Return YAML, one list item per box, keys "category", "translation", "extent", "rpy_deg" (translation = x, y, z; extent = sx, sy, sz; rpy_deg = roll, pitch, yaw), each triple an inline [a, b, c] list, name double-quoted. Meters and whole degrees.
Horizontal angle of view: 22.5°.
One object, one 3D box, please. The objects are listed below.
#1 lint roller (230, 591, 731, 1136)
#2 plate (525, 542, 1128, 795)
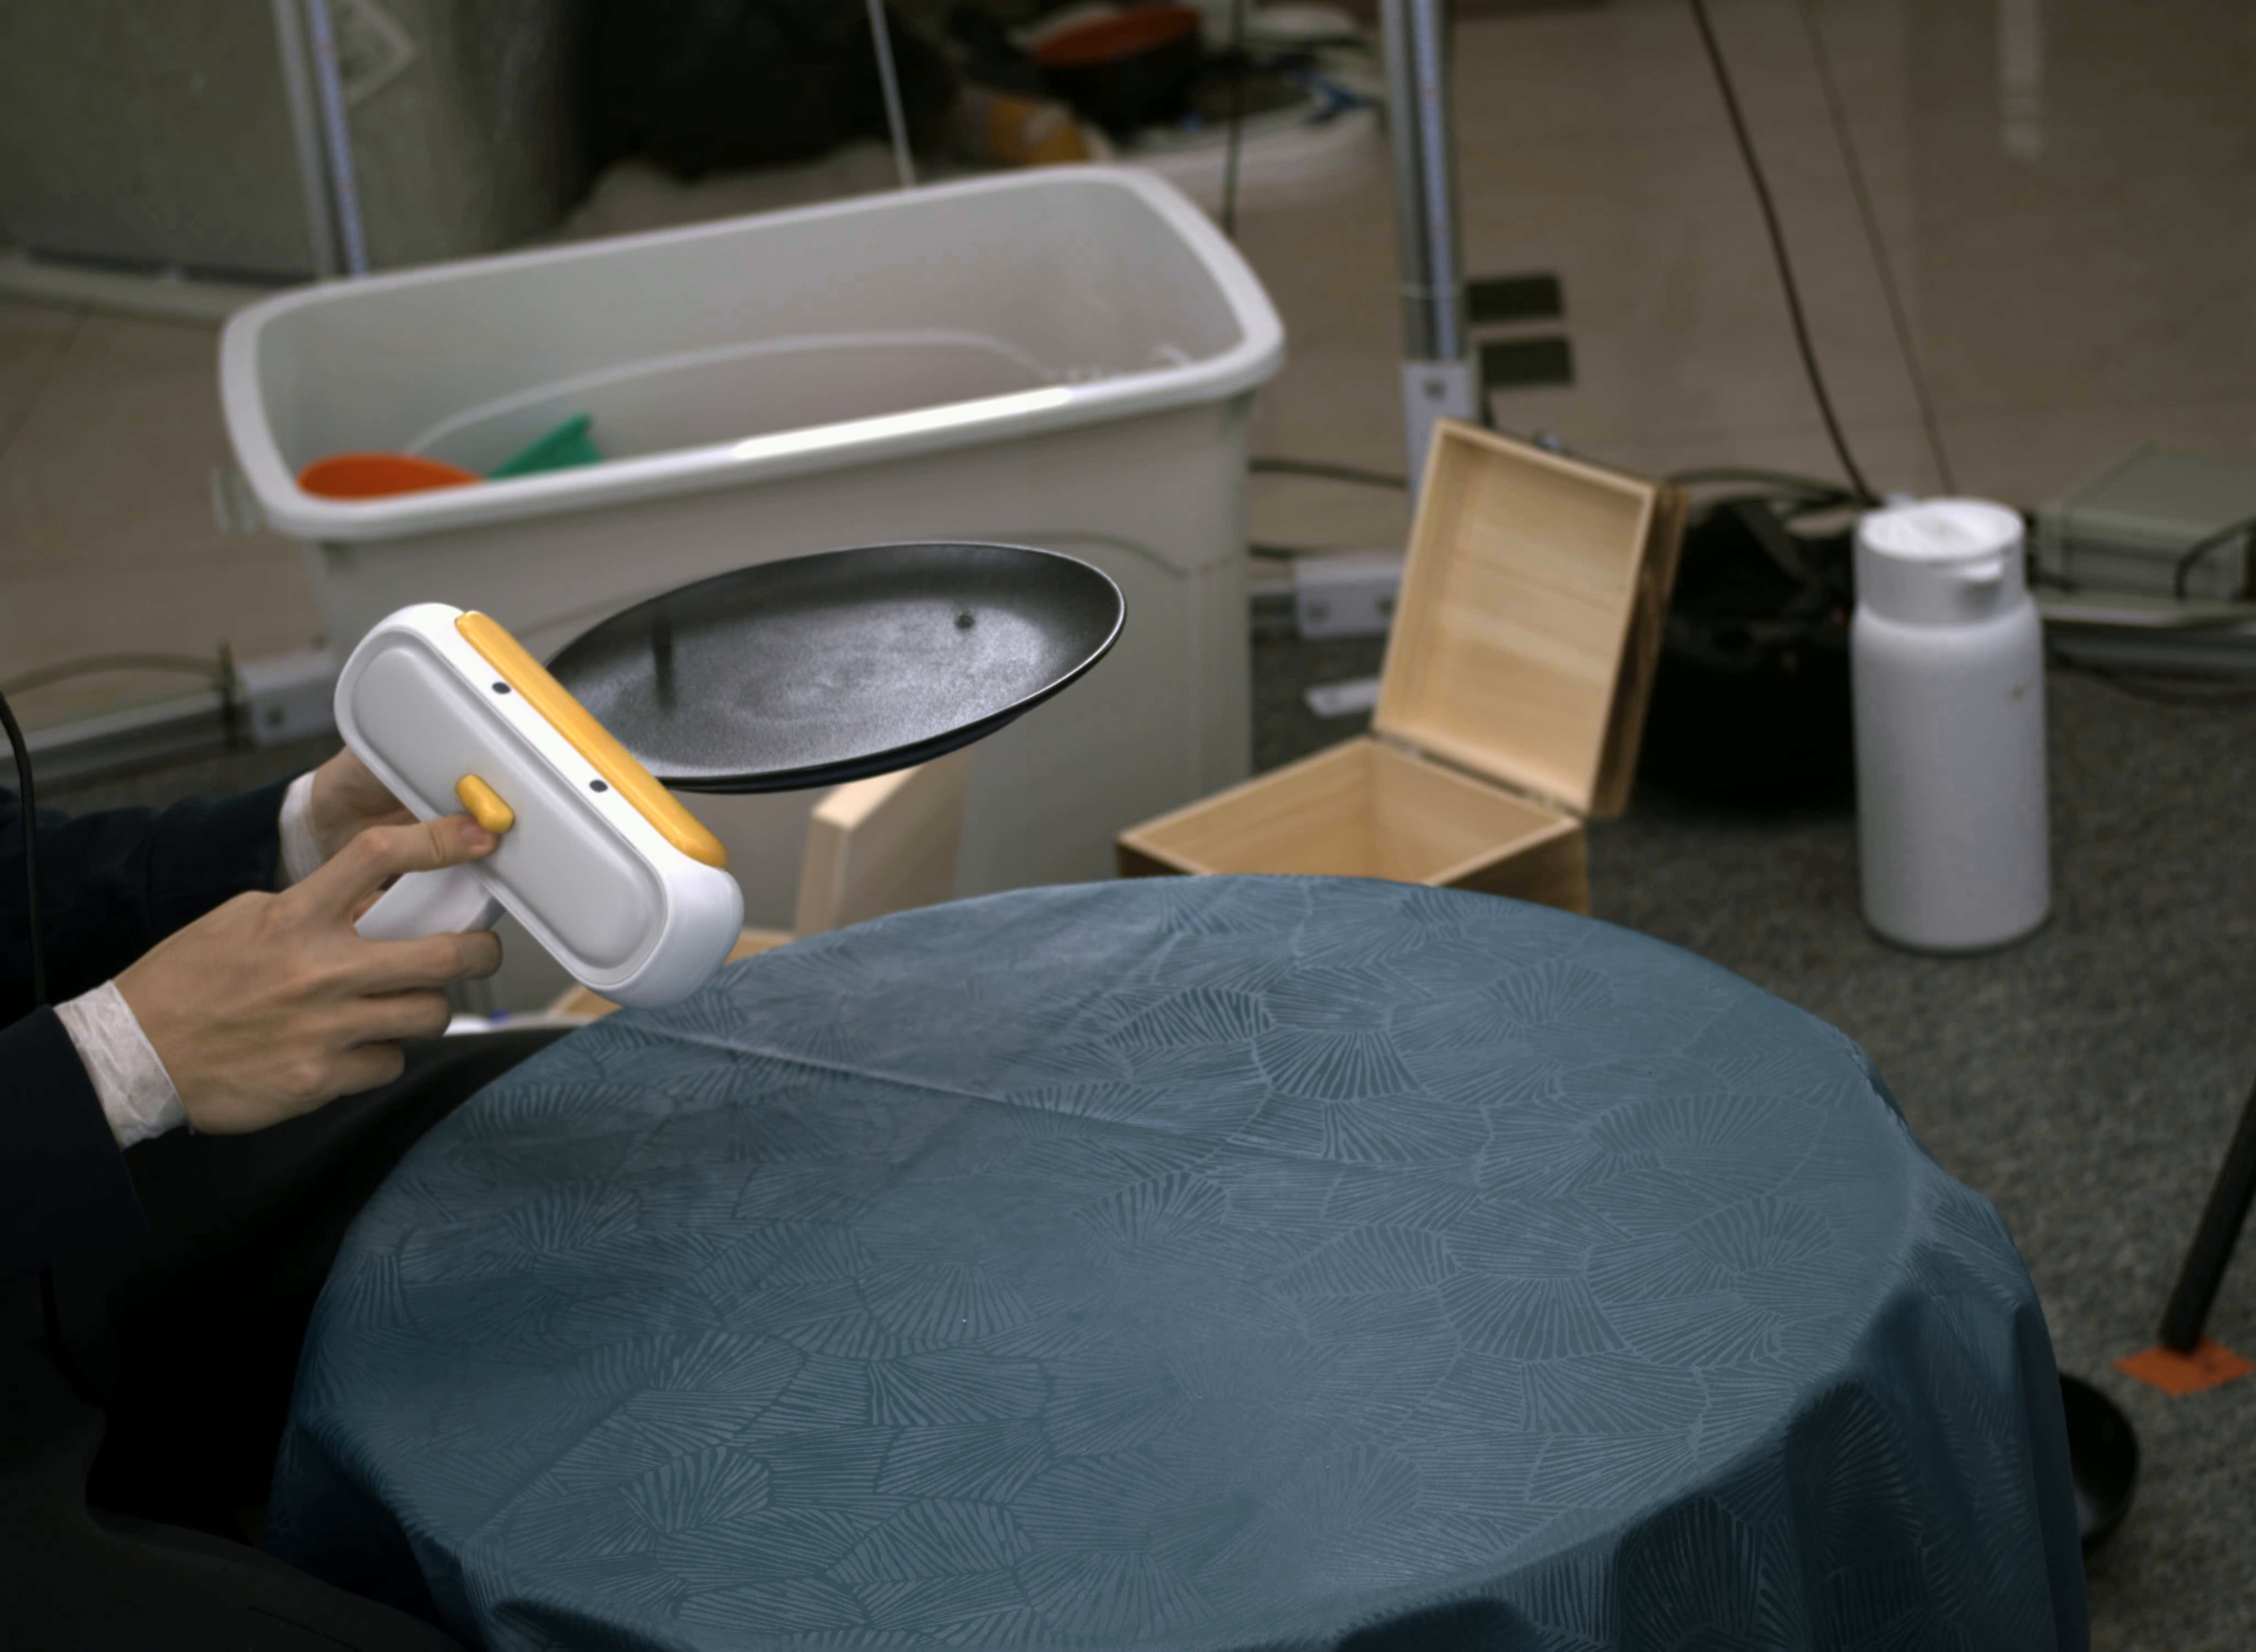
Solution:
- category: "lint roller"
  translation: [-0.265, 0.034, 2.127]
  extent: [0.191, 0.193, 0.074]
  rpy_deg: [39, 11, 16]
- category: "plate"
  translation: [-0.118, -0.059, 2.215]
  extent: [0.244, 0.024, 0.241]
  rpy_deg: [-9, 22, 4]
